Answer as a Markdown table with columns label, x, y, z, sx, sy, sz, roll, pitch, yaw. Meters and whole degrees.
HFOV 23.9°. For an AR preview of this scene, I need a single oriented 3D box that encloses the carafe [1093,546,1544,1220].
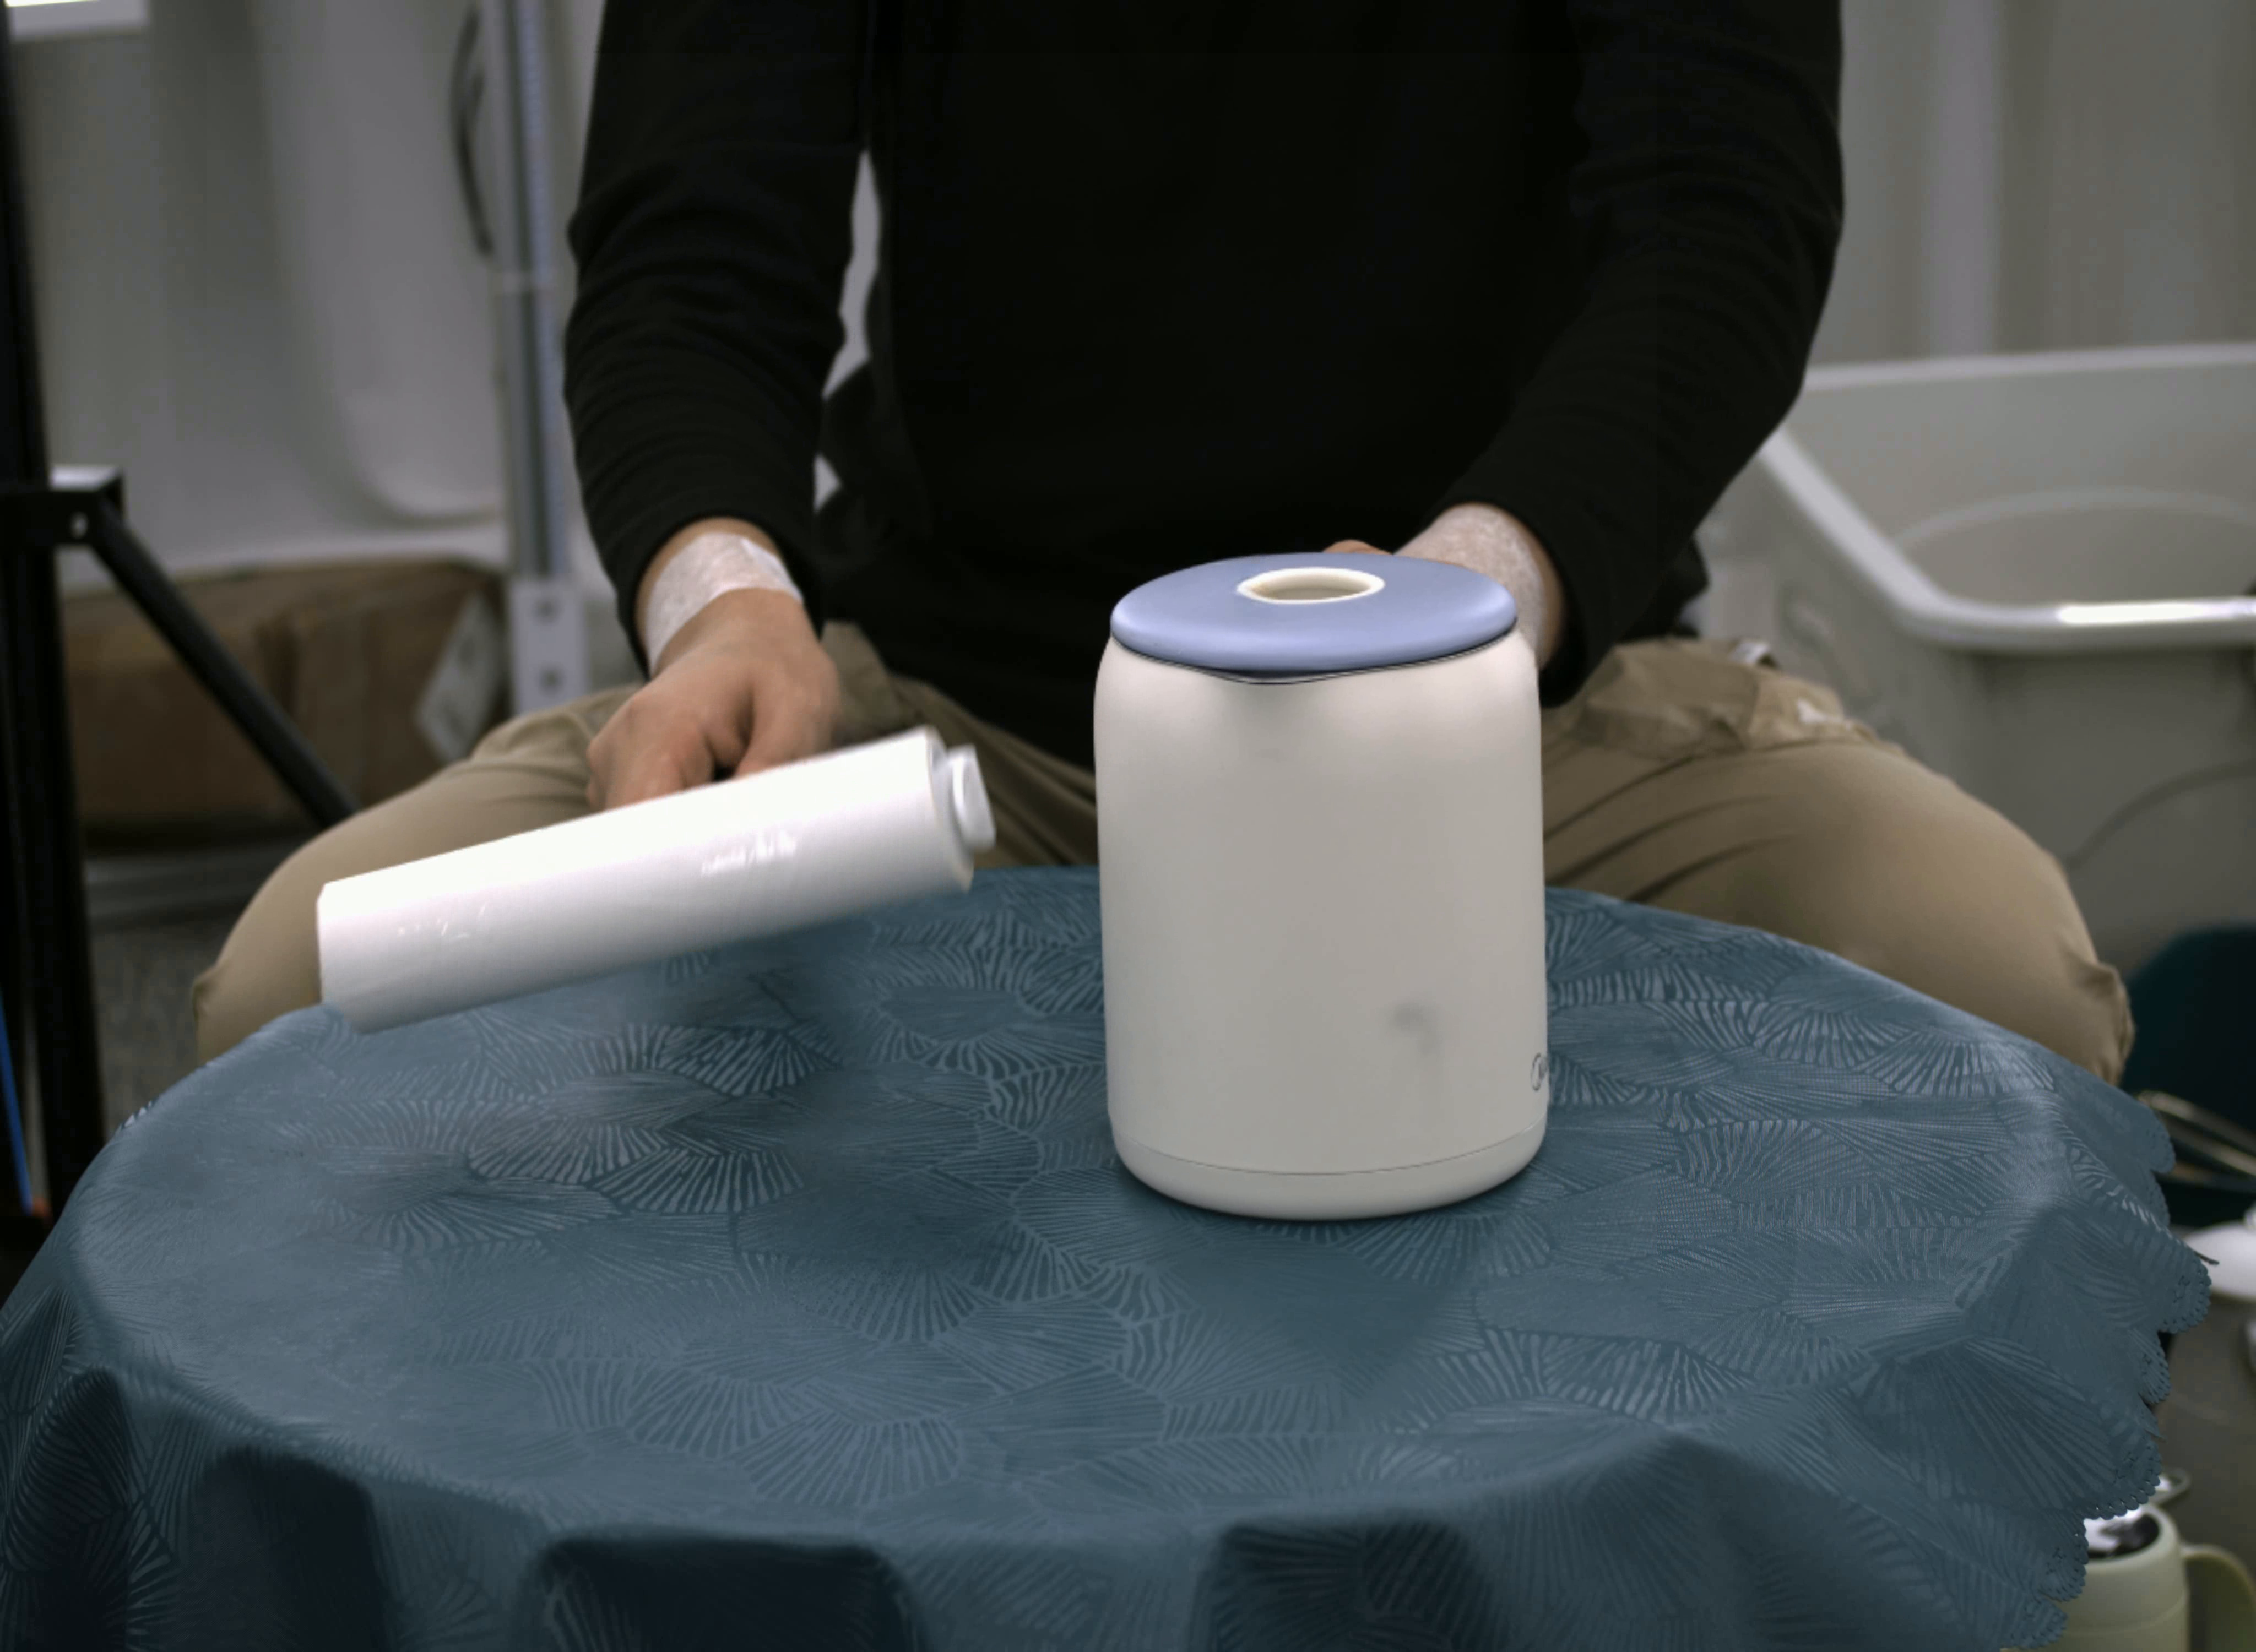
| label | x | y | z | sx | sy | sz | roll | pitch | yaw |
| --- | --- | --- | --- | --- | --- | --- | --- | --- | --- |
| carafe | 0.061 | 0.010 | 1.580 | 0.133 | 0.182 | 0.190 | 2 | 14 | 12 |

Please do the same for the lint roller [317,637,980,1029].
| label | x | y | z | sx | sy | sz | roll | pitch | yaw |
| --- | --- | --- | --- | --- | --- | --- | --- | --- | --- |
| lint roller | -0.131 | 0.006 | 1.664 | 0.203 | 0.048 | 0.223 | -23 | -5 | 9 |
